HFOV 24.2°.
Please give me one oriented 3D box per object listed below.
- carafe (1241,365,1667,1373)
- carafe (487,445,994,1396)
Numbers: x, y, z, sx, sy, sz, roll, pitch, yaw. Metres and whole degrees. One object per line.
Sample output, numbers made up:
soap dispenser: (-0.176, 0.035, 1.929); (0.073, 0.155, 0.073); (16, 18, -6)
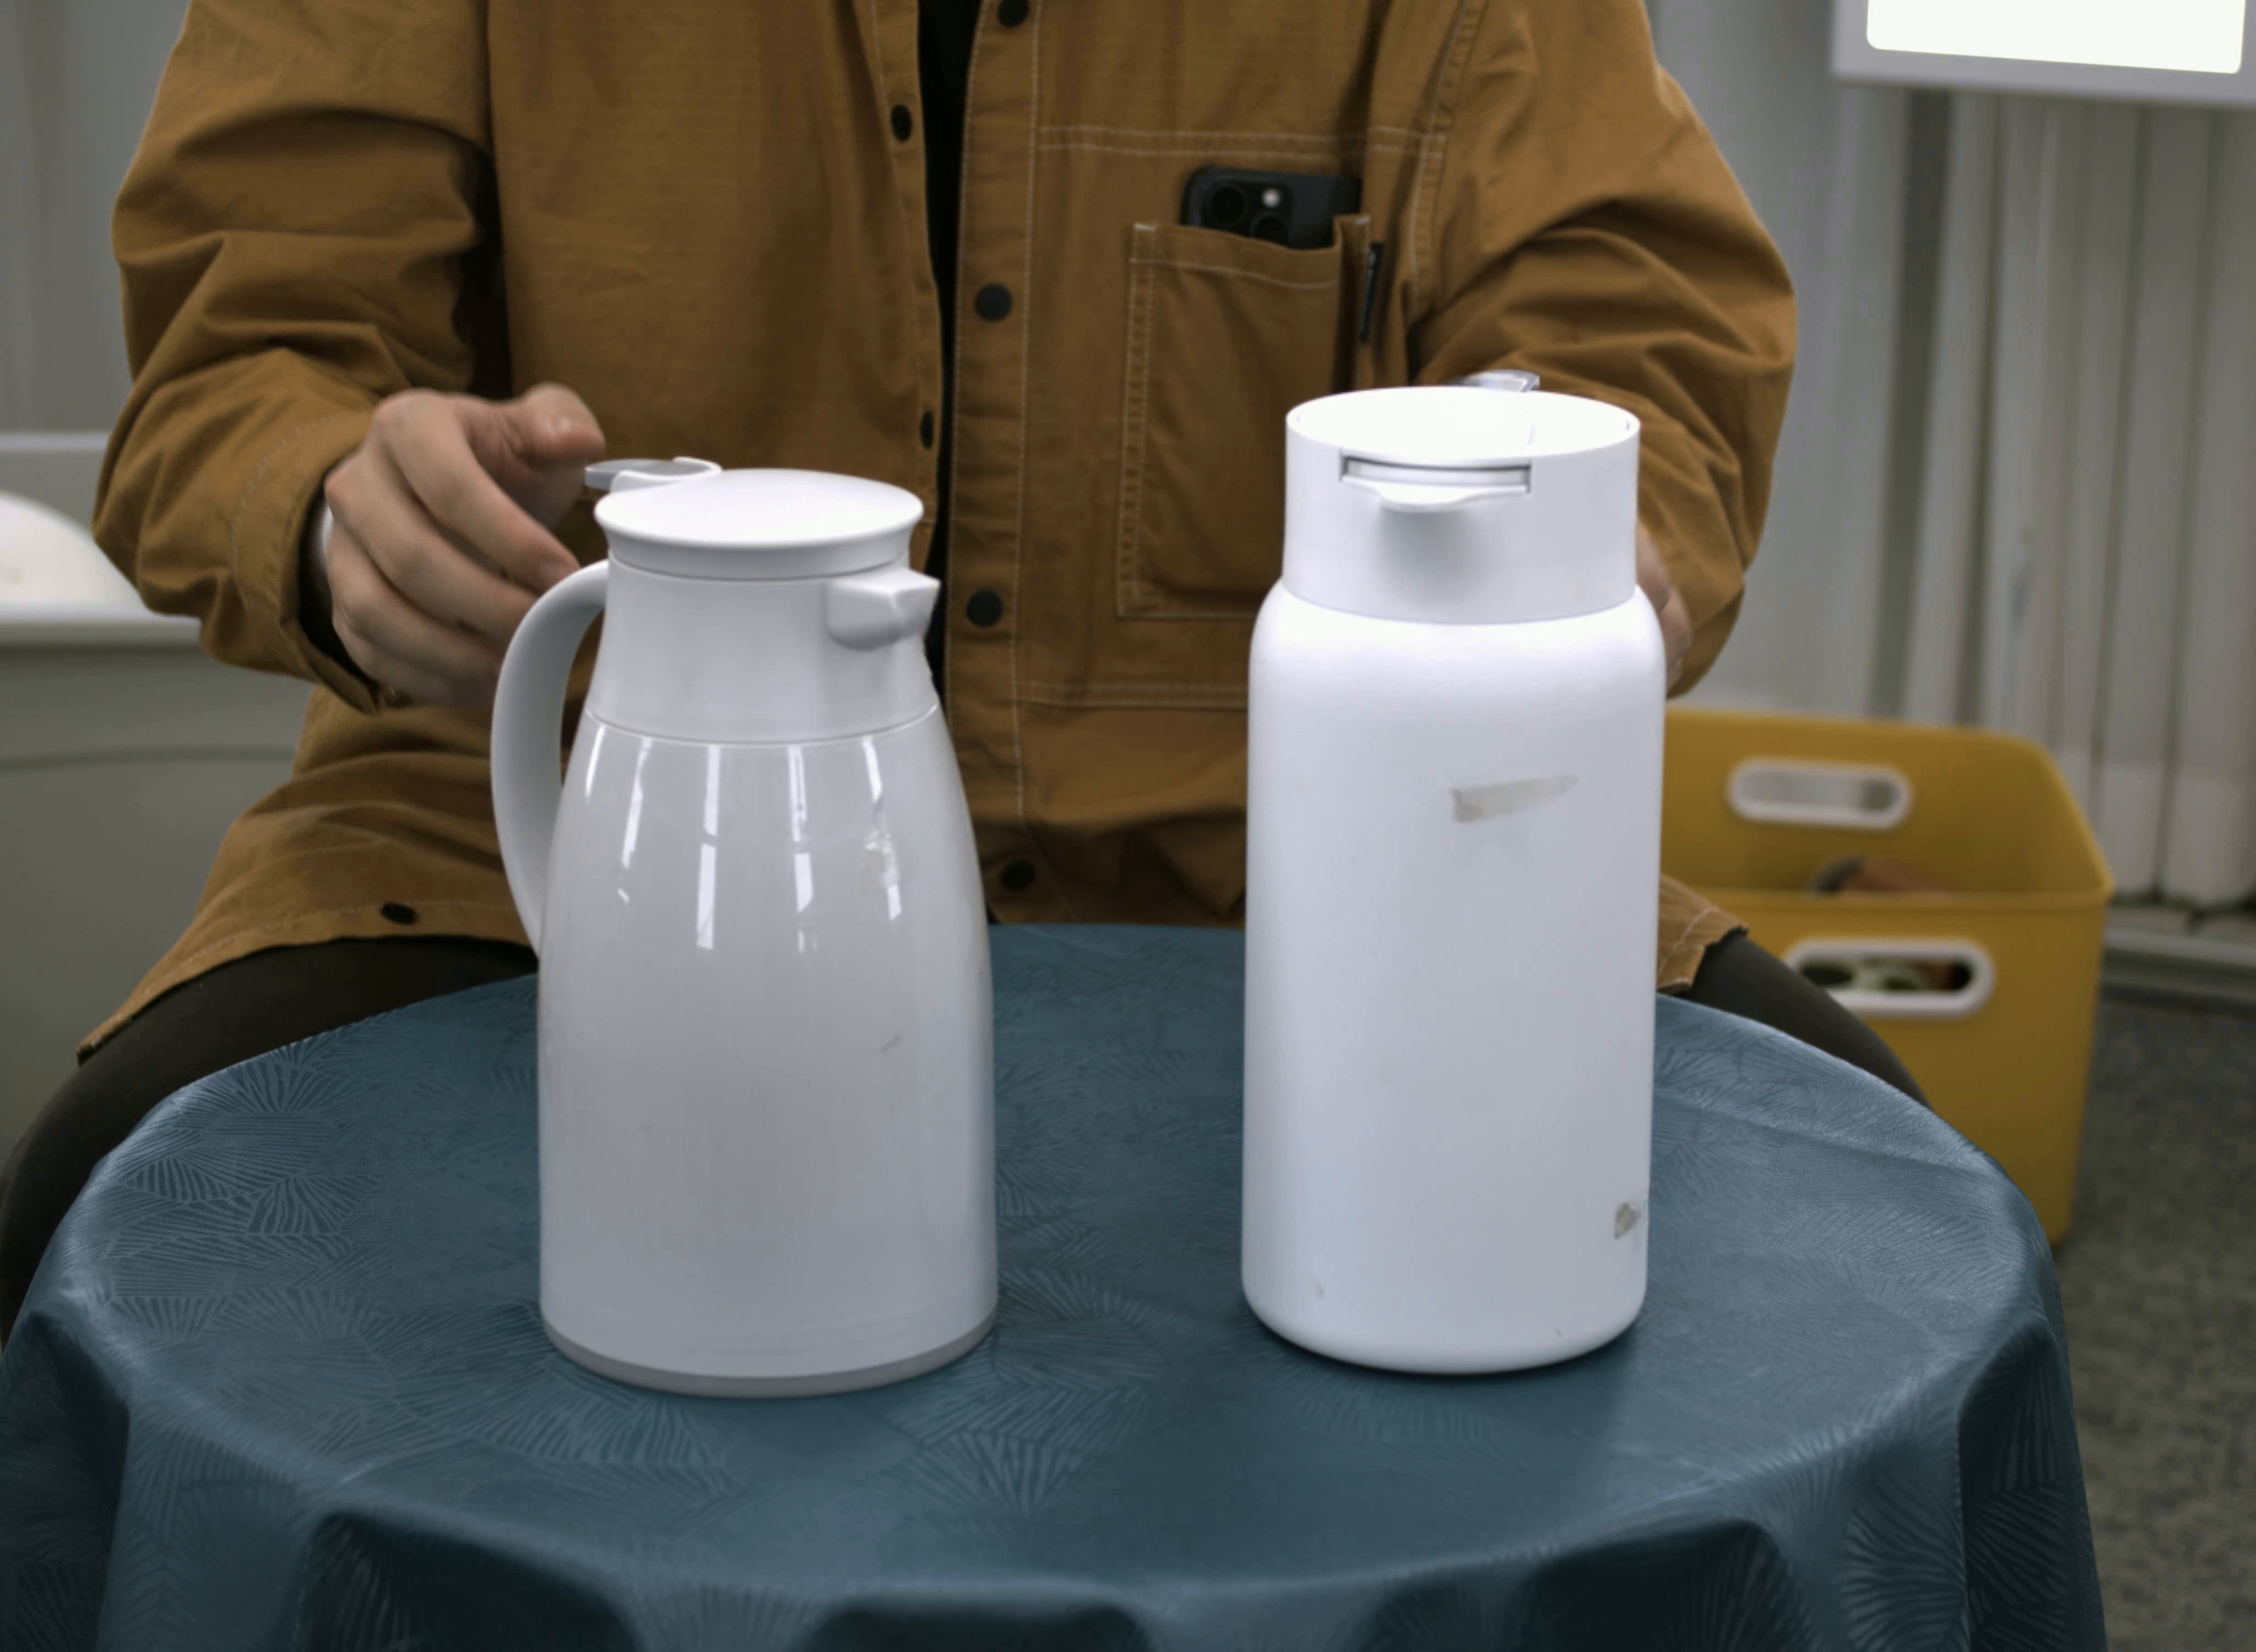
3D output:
carafe: (0.094, 0.008, 1.501); (0.123, 0.271, 0.172); (2, 16, 13)
carafe: (-0.118, 0.018, 1.491); (0.165, 0.250, 0.133); (12, 20, 39)
